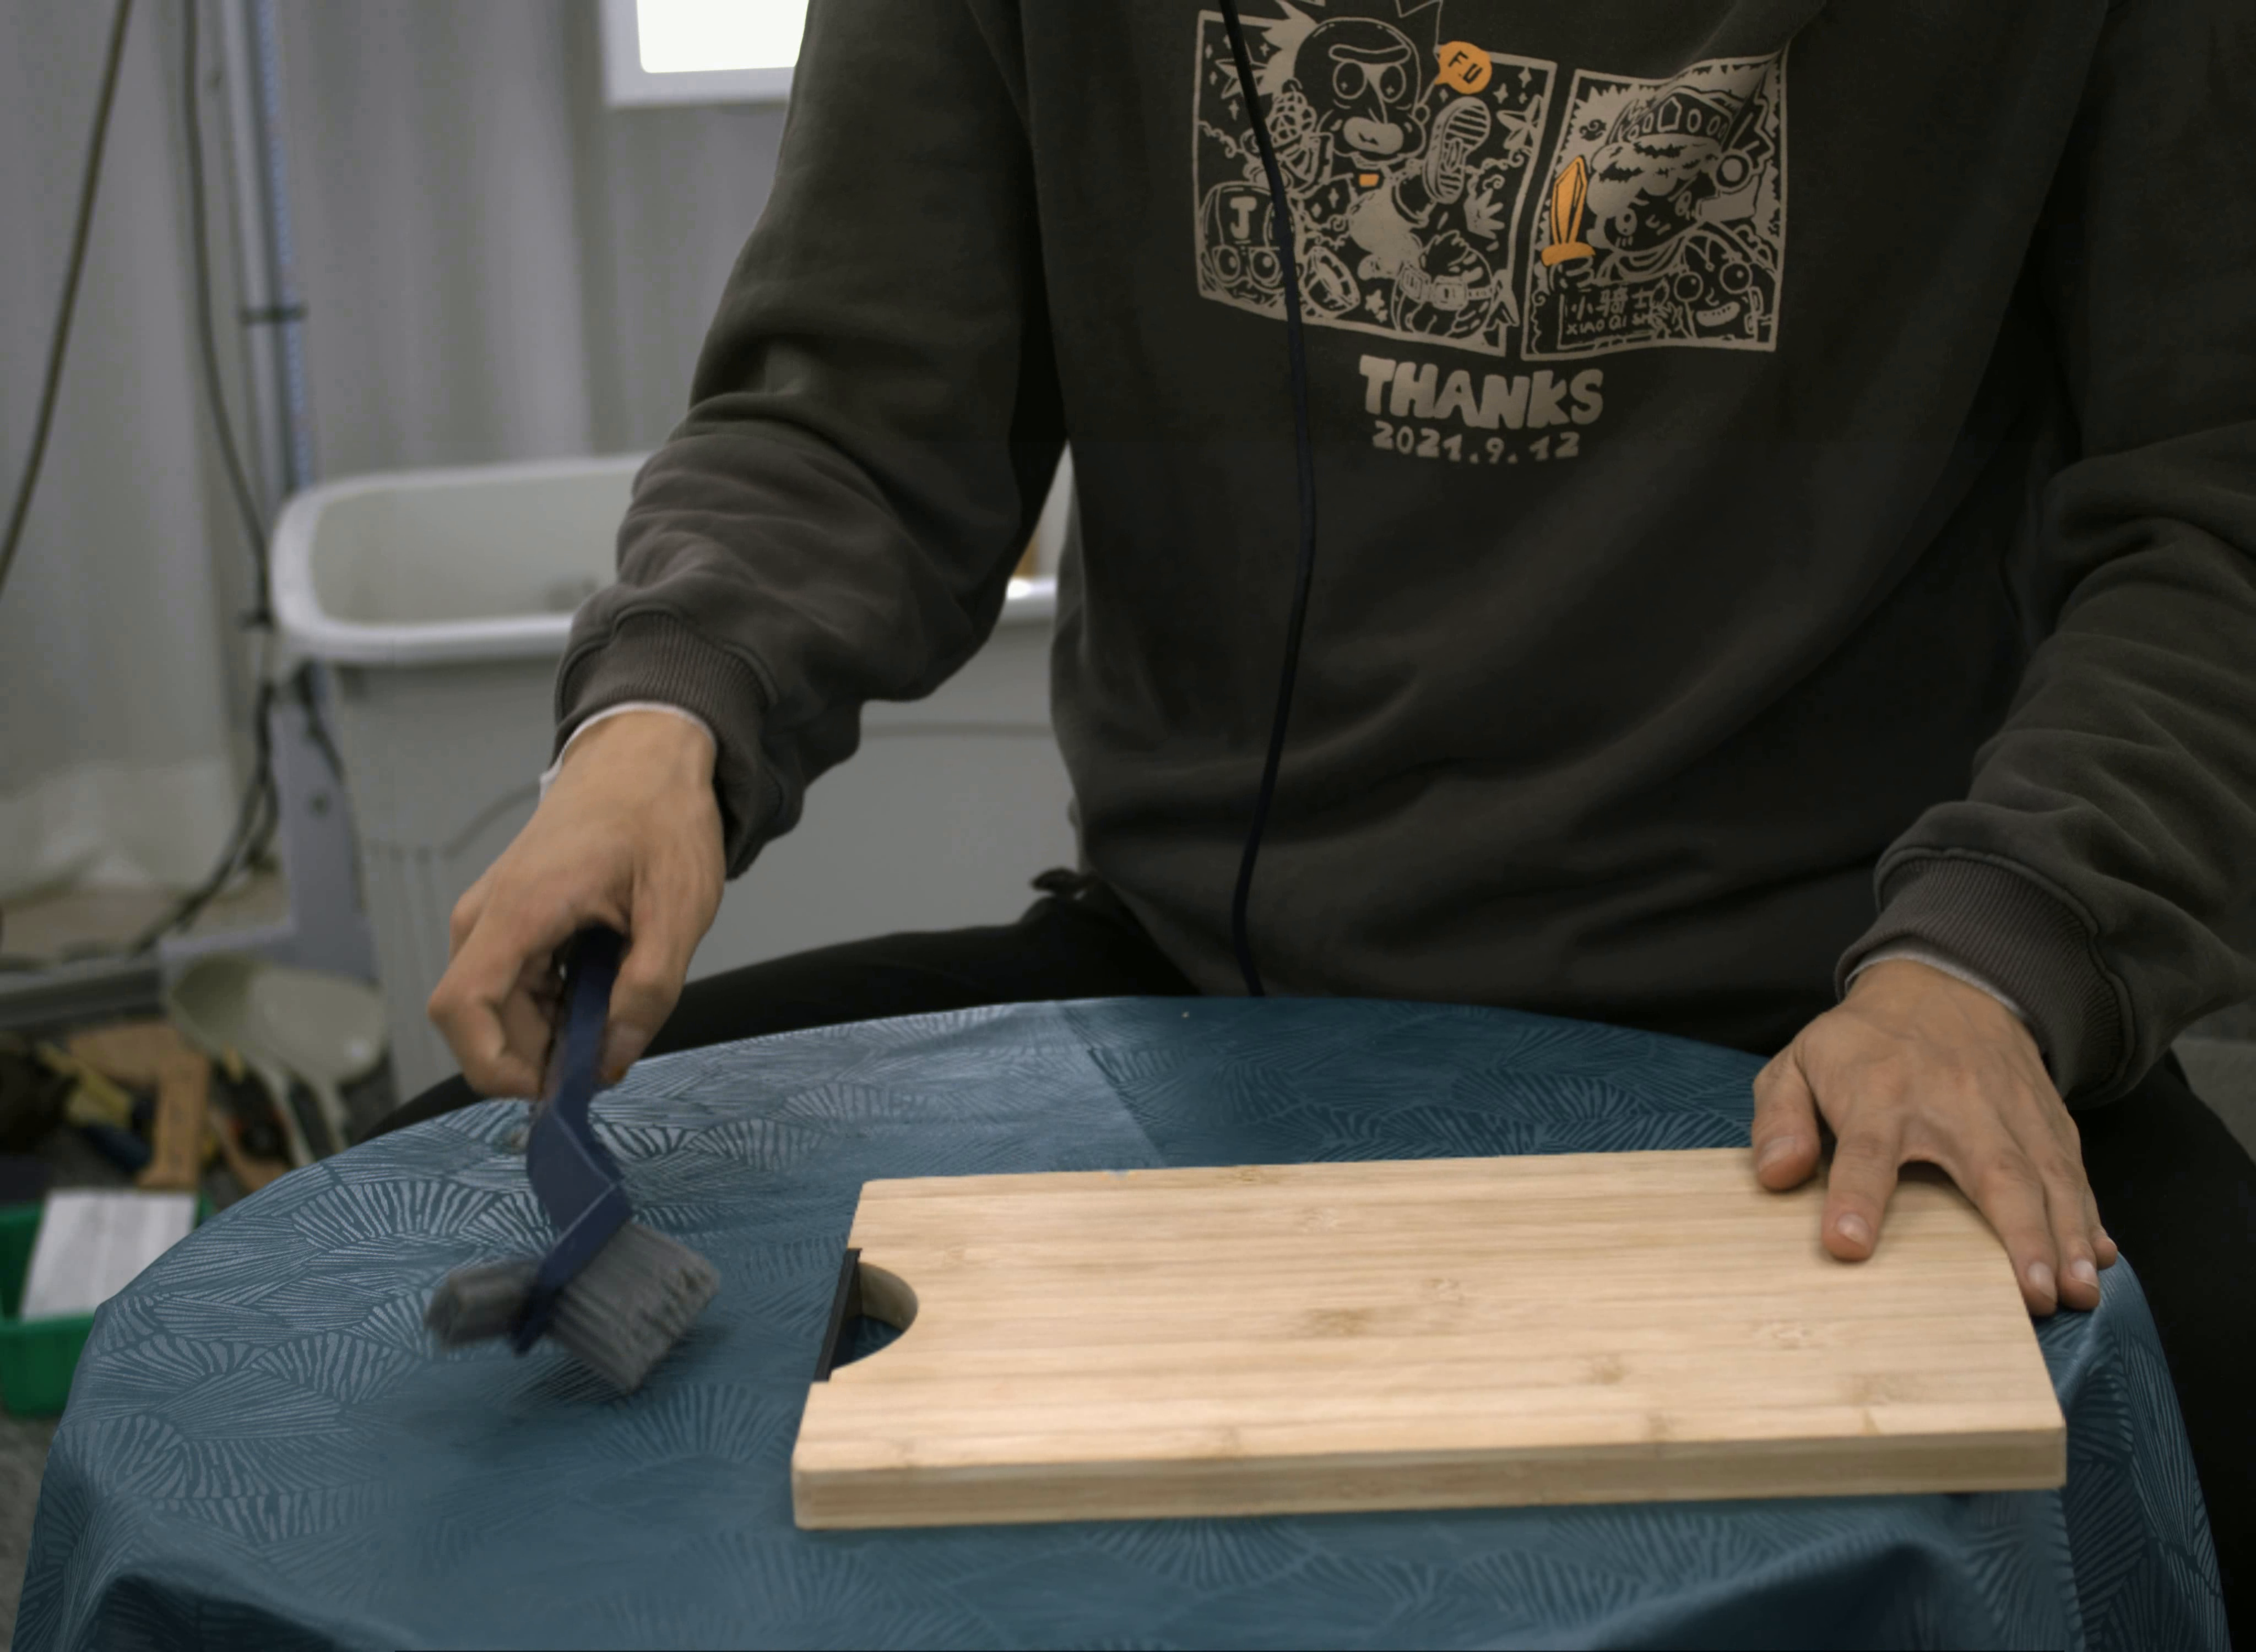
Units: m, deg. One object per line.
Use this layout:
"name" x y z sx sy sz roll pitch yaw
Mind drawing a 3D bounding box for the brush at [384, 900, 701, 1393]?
"brush" -0.178 0.091 1.670 0.095 0.033 0.276 17 23 -15

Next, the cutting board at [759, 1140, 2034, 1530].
"cutting board" 0.077 0.144 1.568 0.347 0.023 0.252 -2 14 2
